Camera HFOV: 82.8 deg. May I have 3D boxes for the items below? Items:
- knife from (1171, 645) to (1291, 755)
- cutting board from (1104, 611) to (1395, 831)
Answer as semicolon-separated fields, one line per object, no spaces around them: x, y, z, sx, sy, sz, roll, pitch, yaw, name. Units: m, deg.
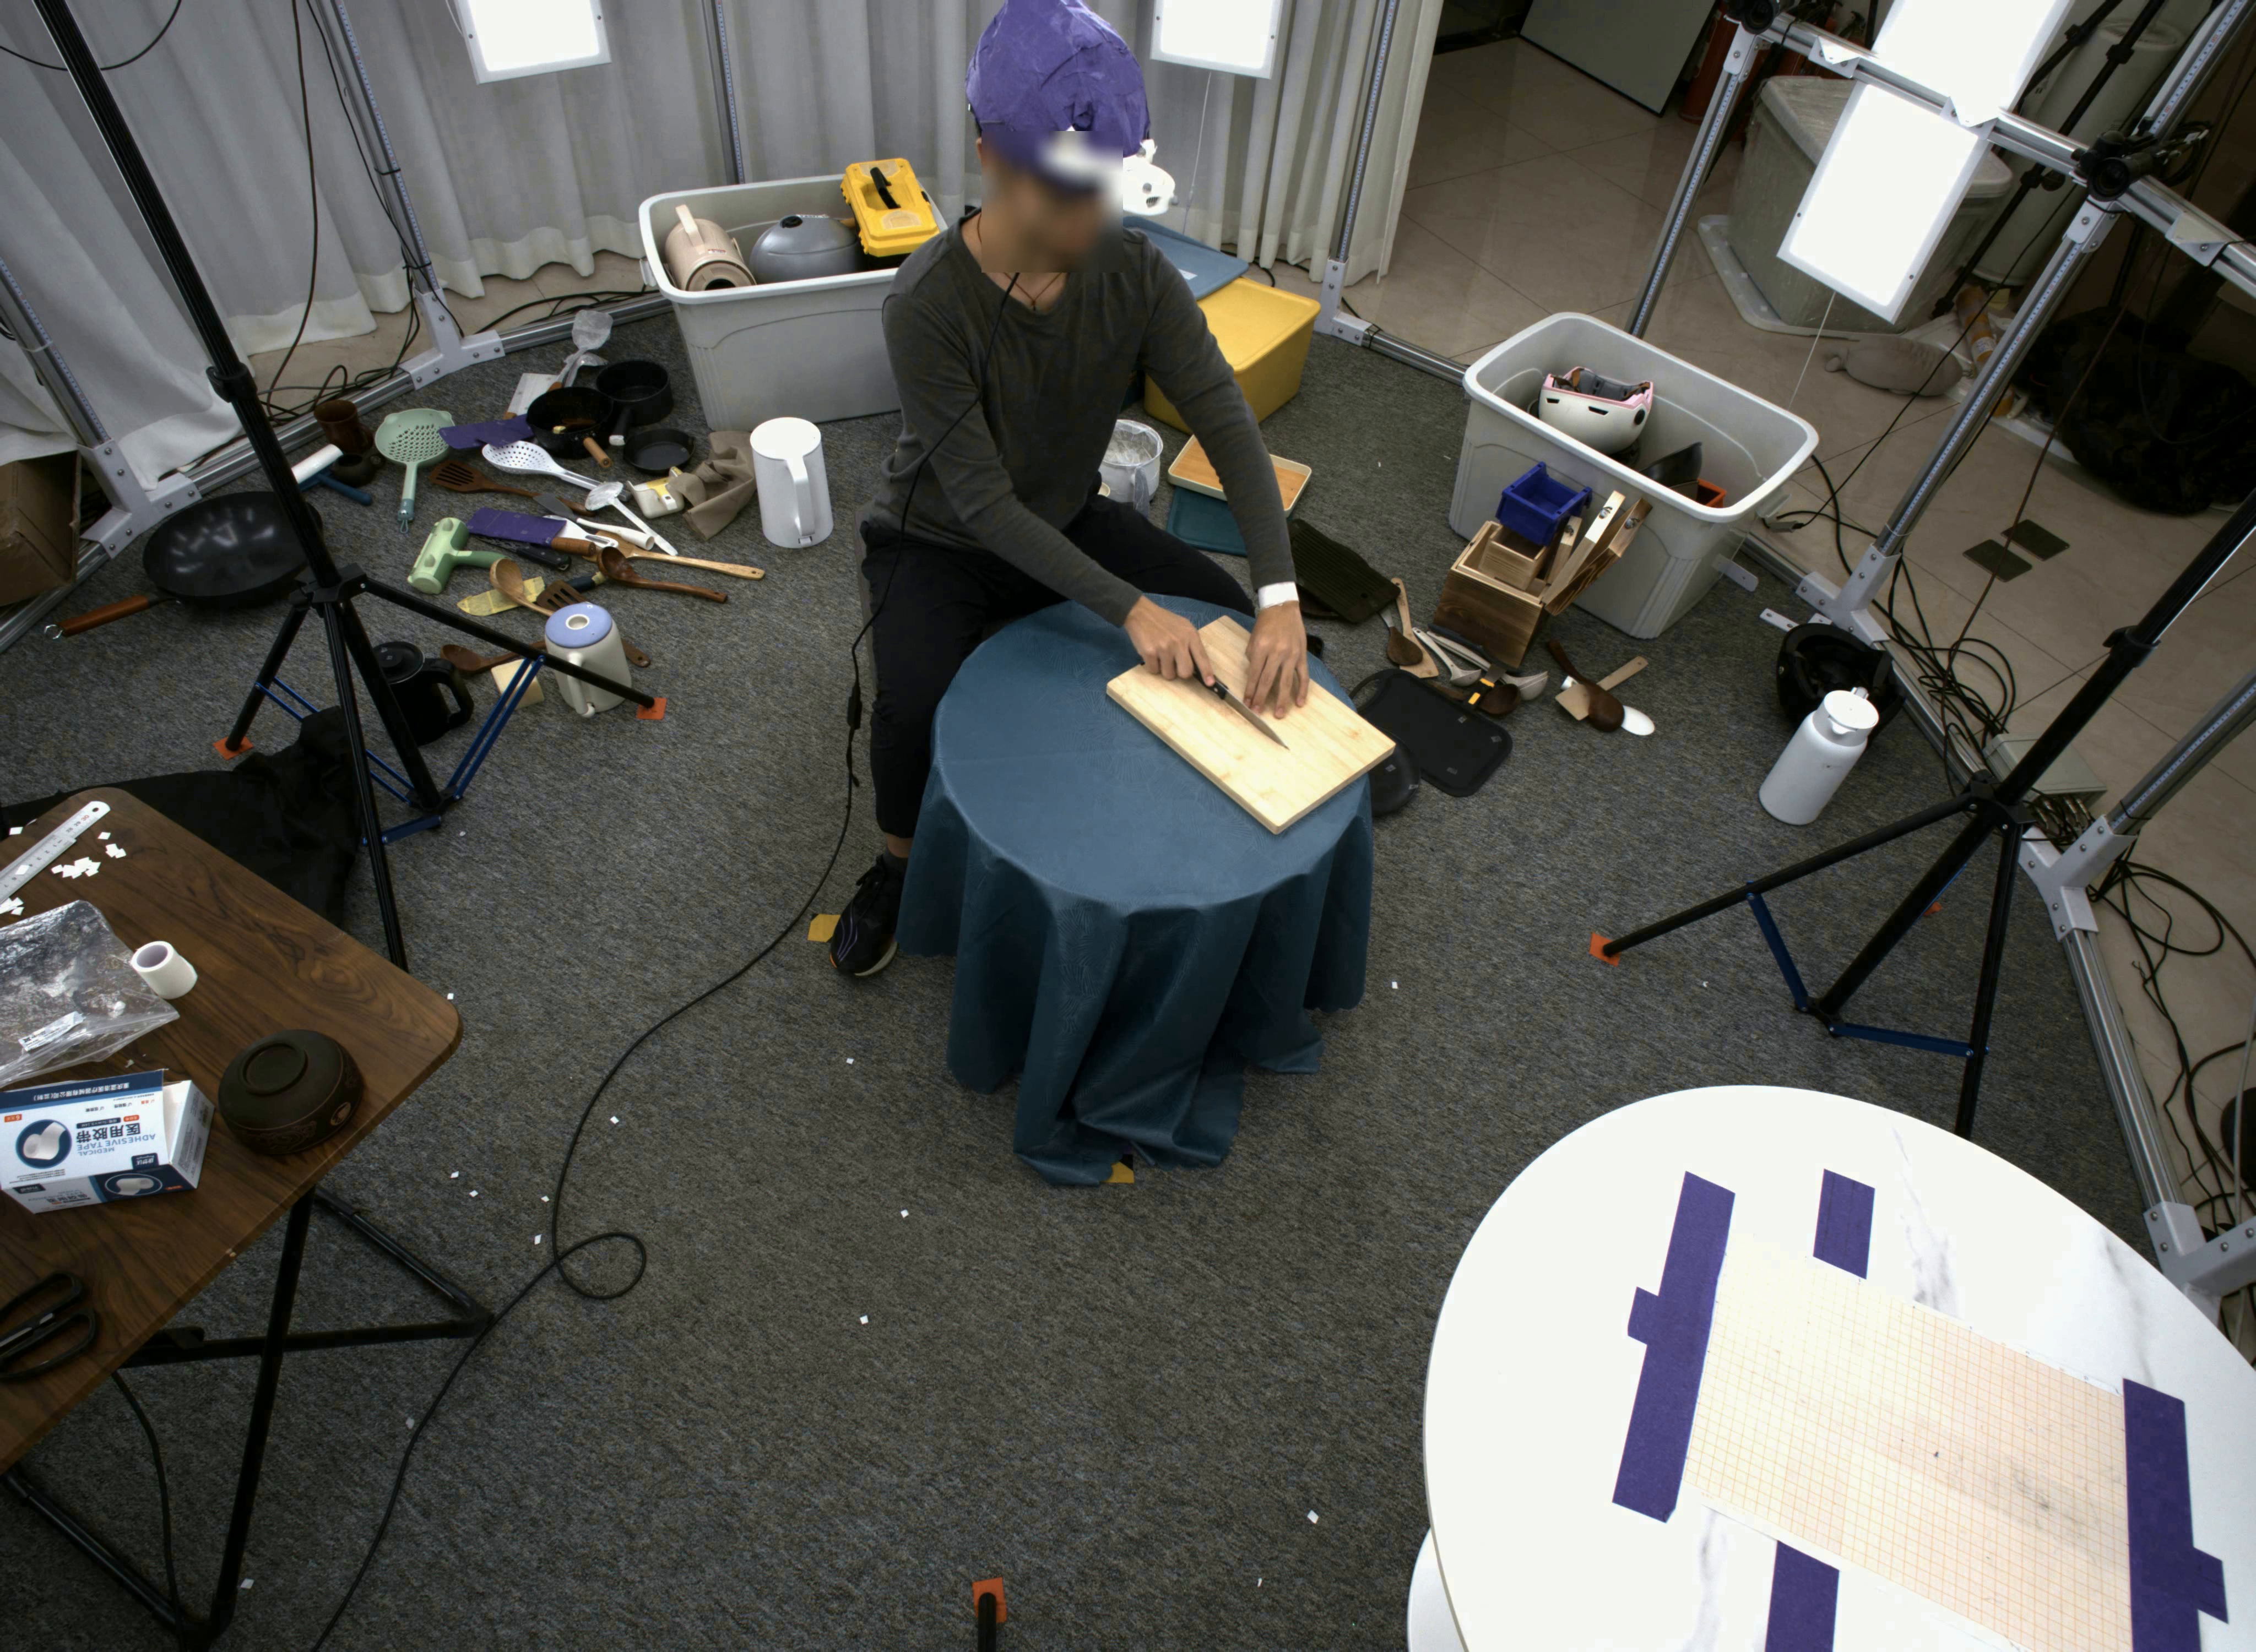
0.144;-0.178;1.786;0.016;0.024;0.242;-29;63;-32;knife
0.167;-0.156;1.804;0.252;0.023;0.354;-33;59;-28;cutting board
